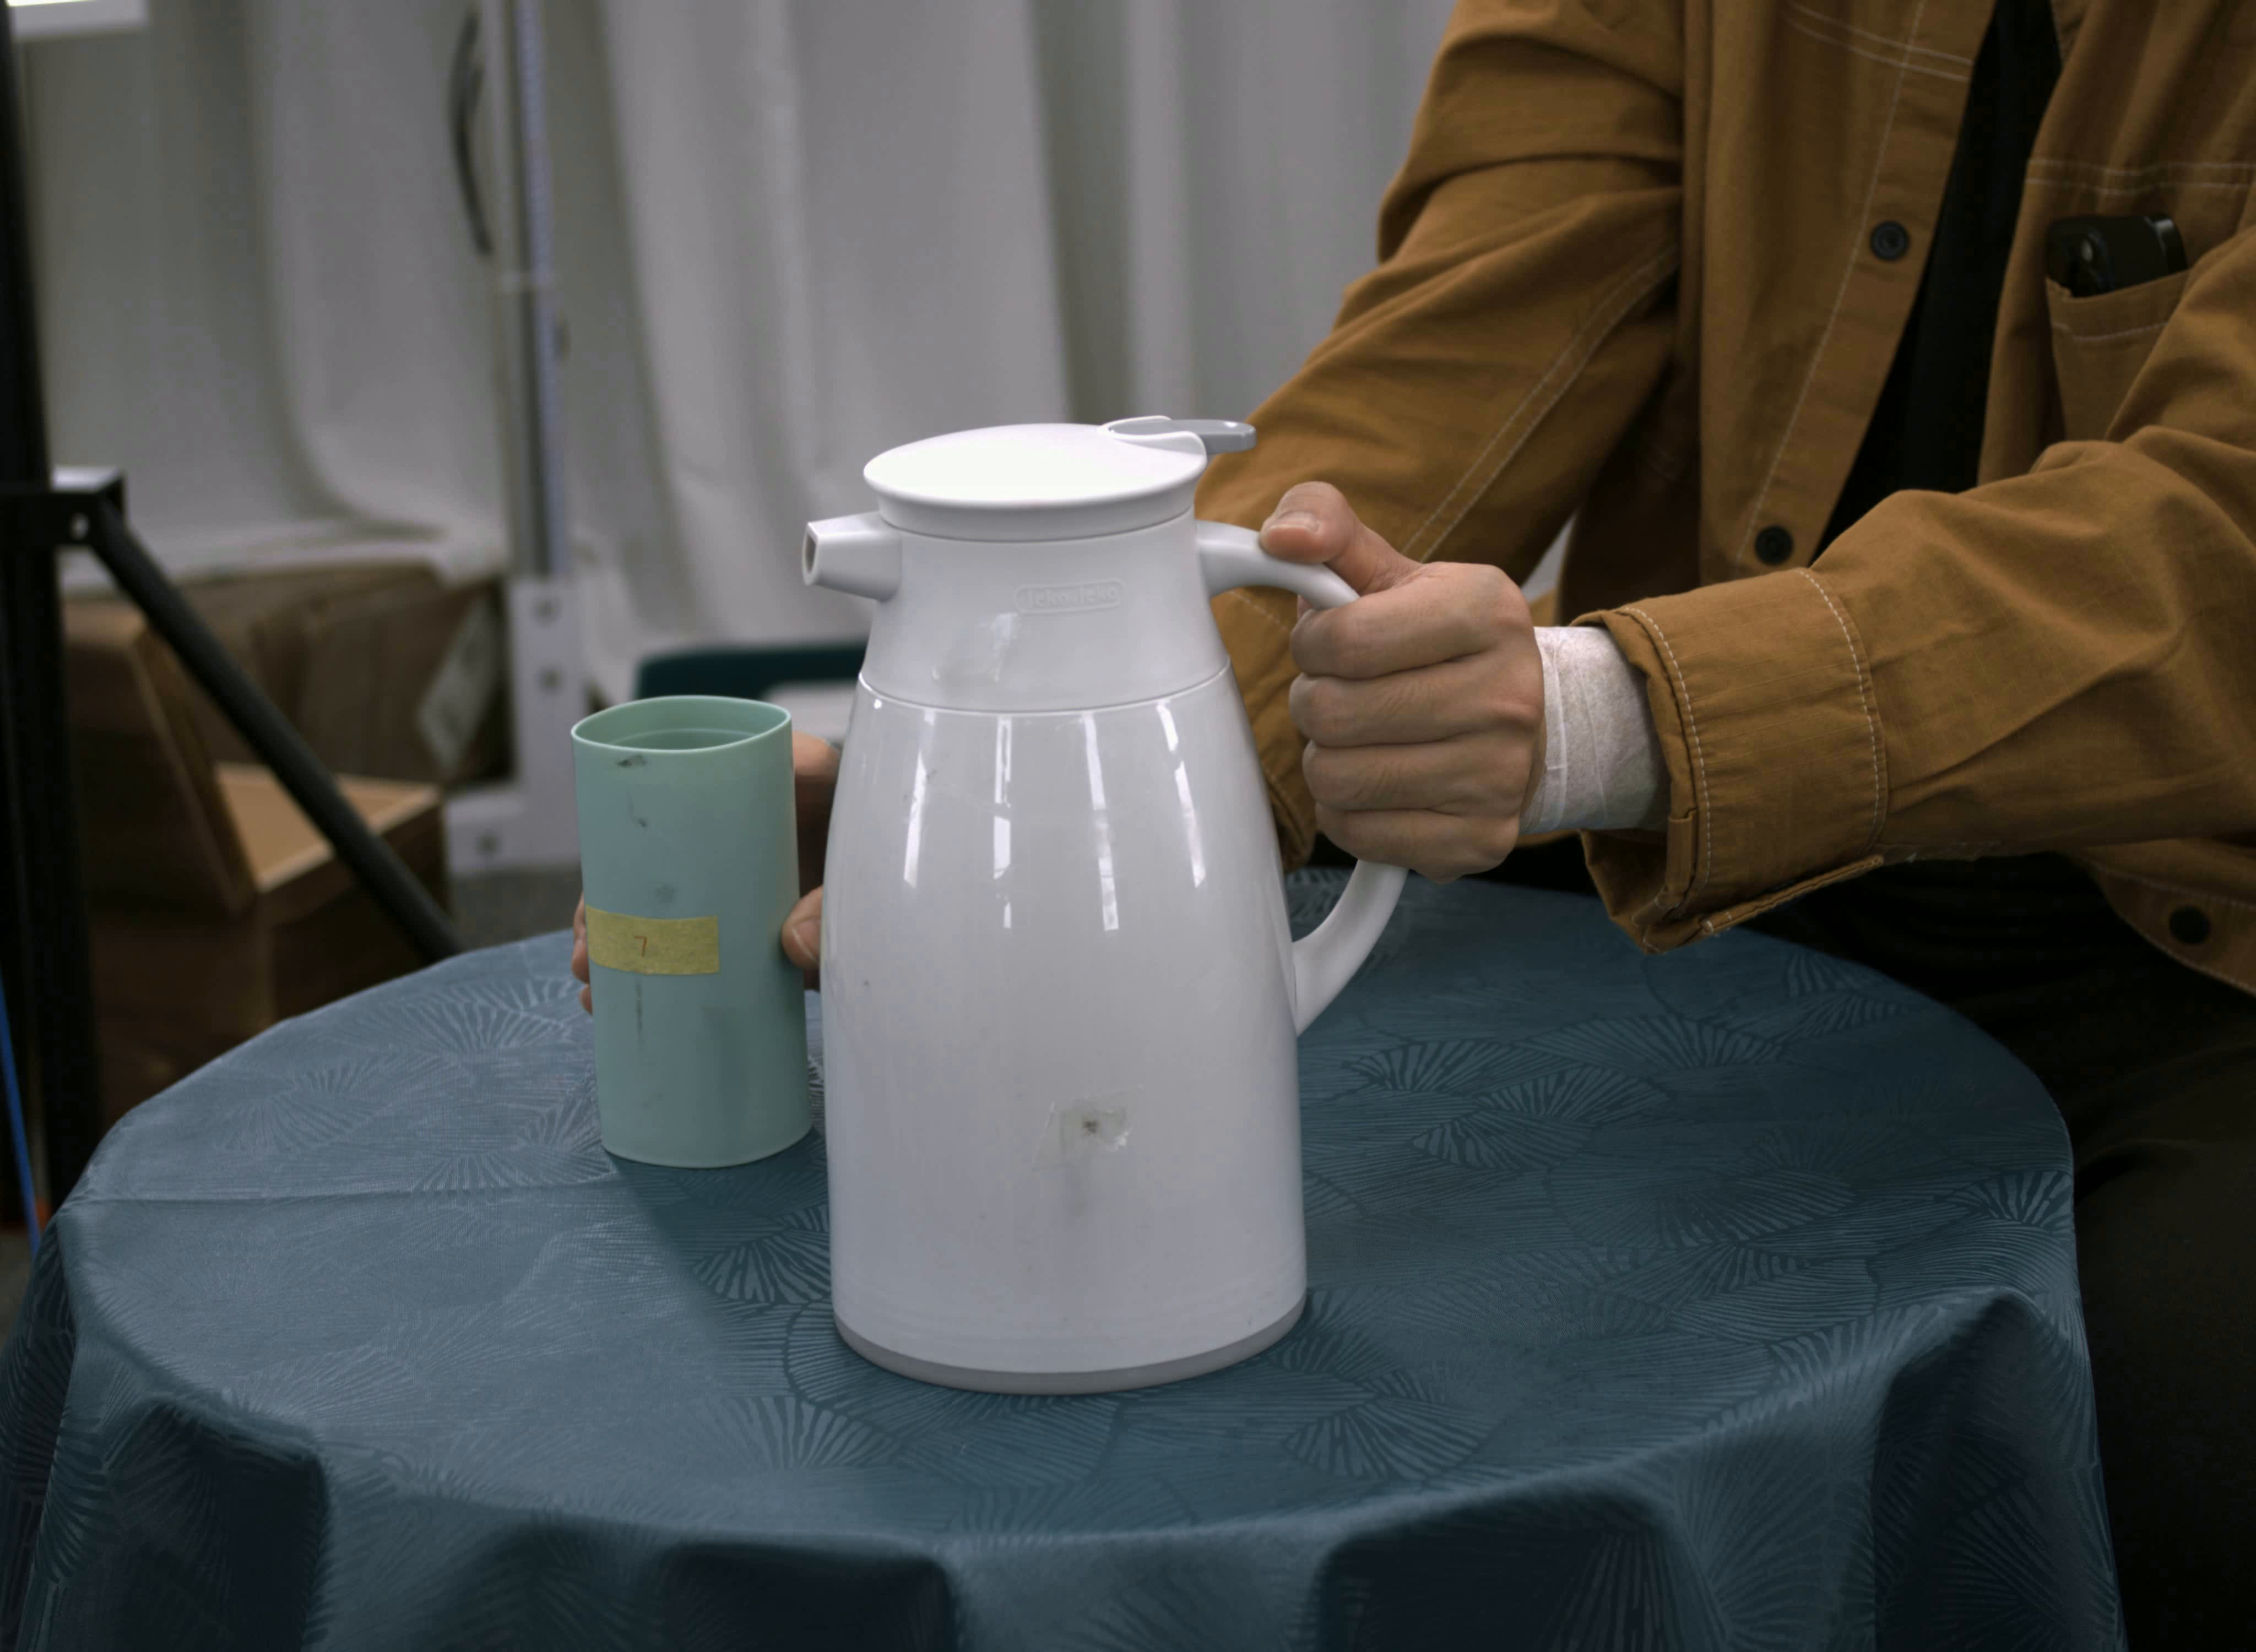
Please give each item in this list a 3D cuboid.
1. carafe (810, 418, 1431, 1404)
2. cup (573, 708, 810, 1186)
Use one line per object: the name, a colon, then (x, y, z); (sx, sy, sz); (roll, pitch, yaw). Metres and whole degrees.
carafe: (-0.001, 0.015, 1.439); (0.165, 0.248, 0.134); (-4, 16, -10)
cup: (-0.130, 0.035, 1.608); (0.066, 0.132, 0.067); (-2, 15, -1)
